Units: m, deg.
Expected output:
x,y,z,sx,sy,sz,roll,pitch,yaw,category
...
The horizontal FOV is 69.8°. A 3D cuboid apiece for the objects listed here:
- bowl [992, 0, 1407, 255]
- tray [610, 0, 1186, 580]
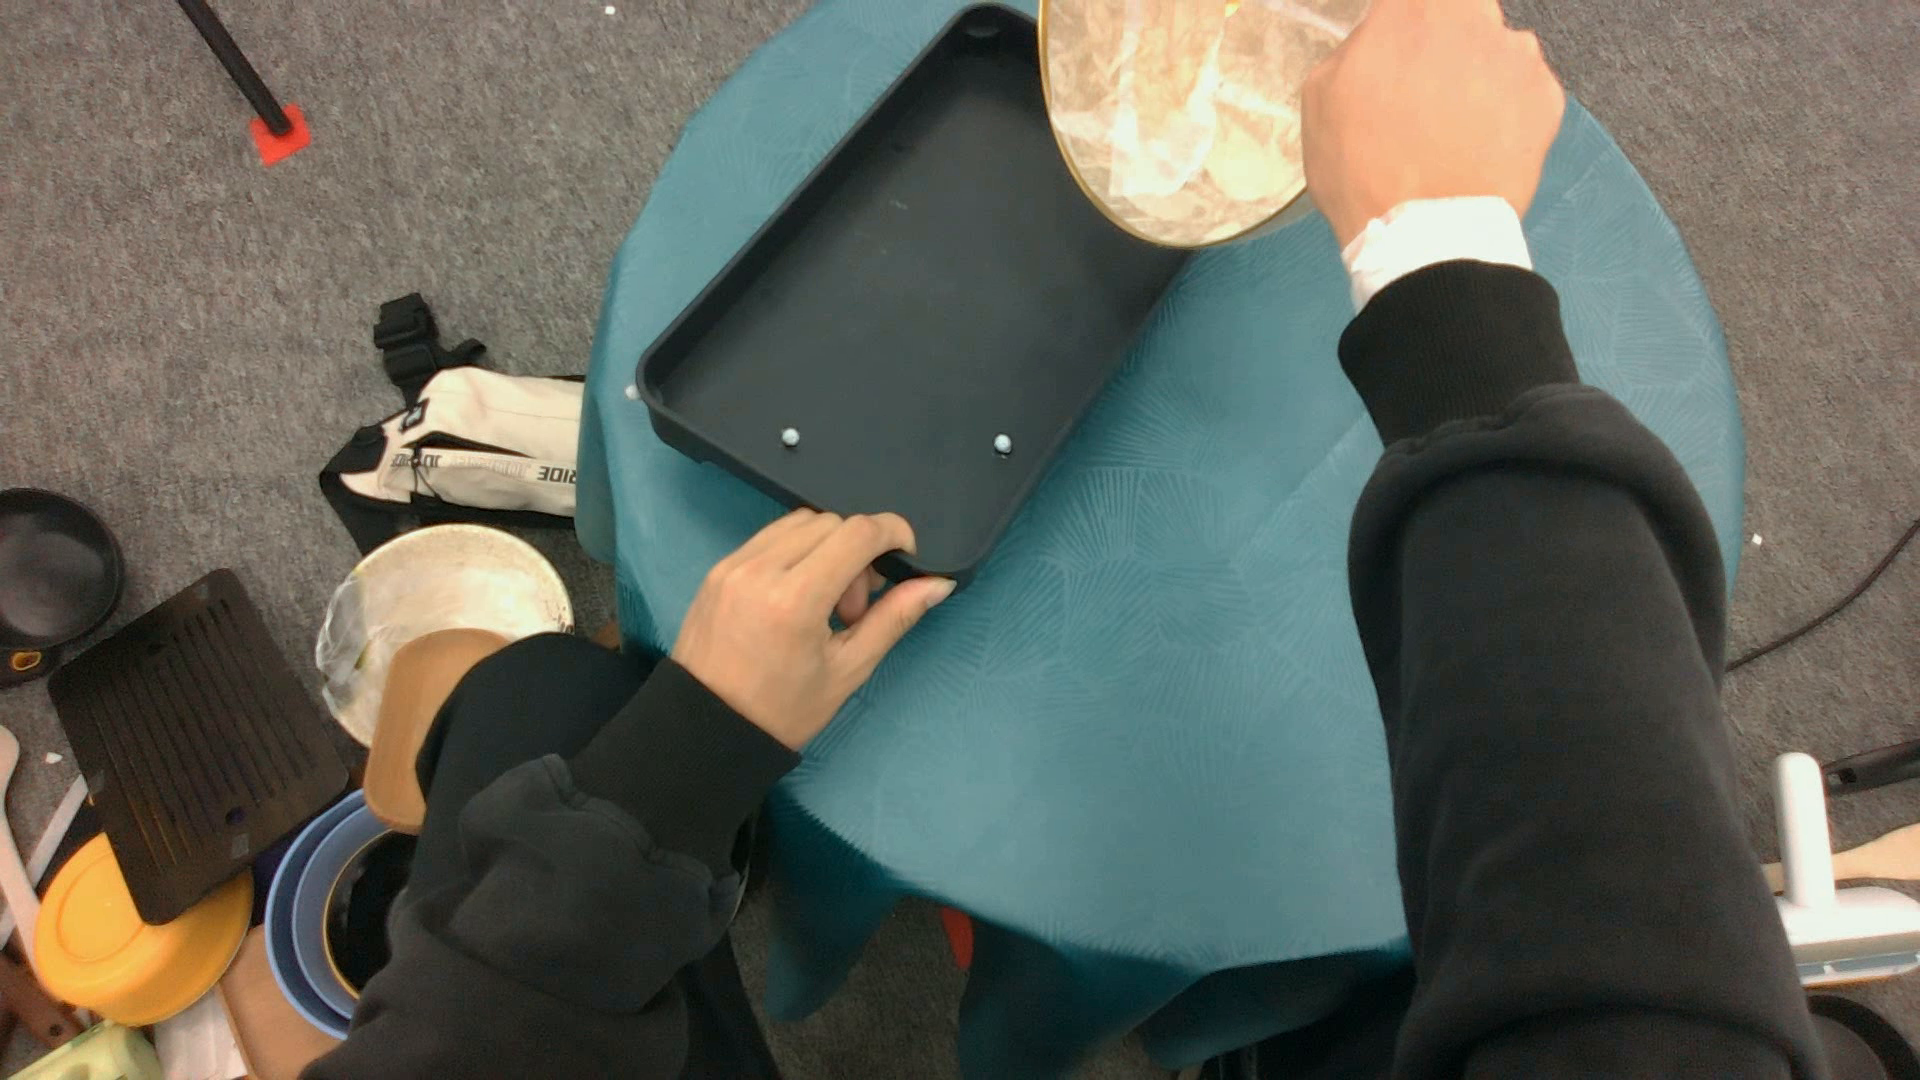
x,y,z,sx,sy,sz,roll,pitch,yaw,category
0.120,-0.238,0.623,0.095,0.213,0.215,-12,68,-41,bowl
-0.008,-0.139,0.689,0.184,0.037,0.319,31,62,10,tray
